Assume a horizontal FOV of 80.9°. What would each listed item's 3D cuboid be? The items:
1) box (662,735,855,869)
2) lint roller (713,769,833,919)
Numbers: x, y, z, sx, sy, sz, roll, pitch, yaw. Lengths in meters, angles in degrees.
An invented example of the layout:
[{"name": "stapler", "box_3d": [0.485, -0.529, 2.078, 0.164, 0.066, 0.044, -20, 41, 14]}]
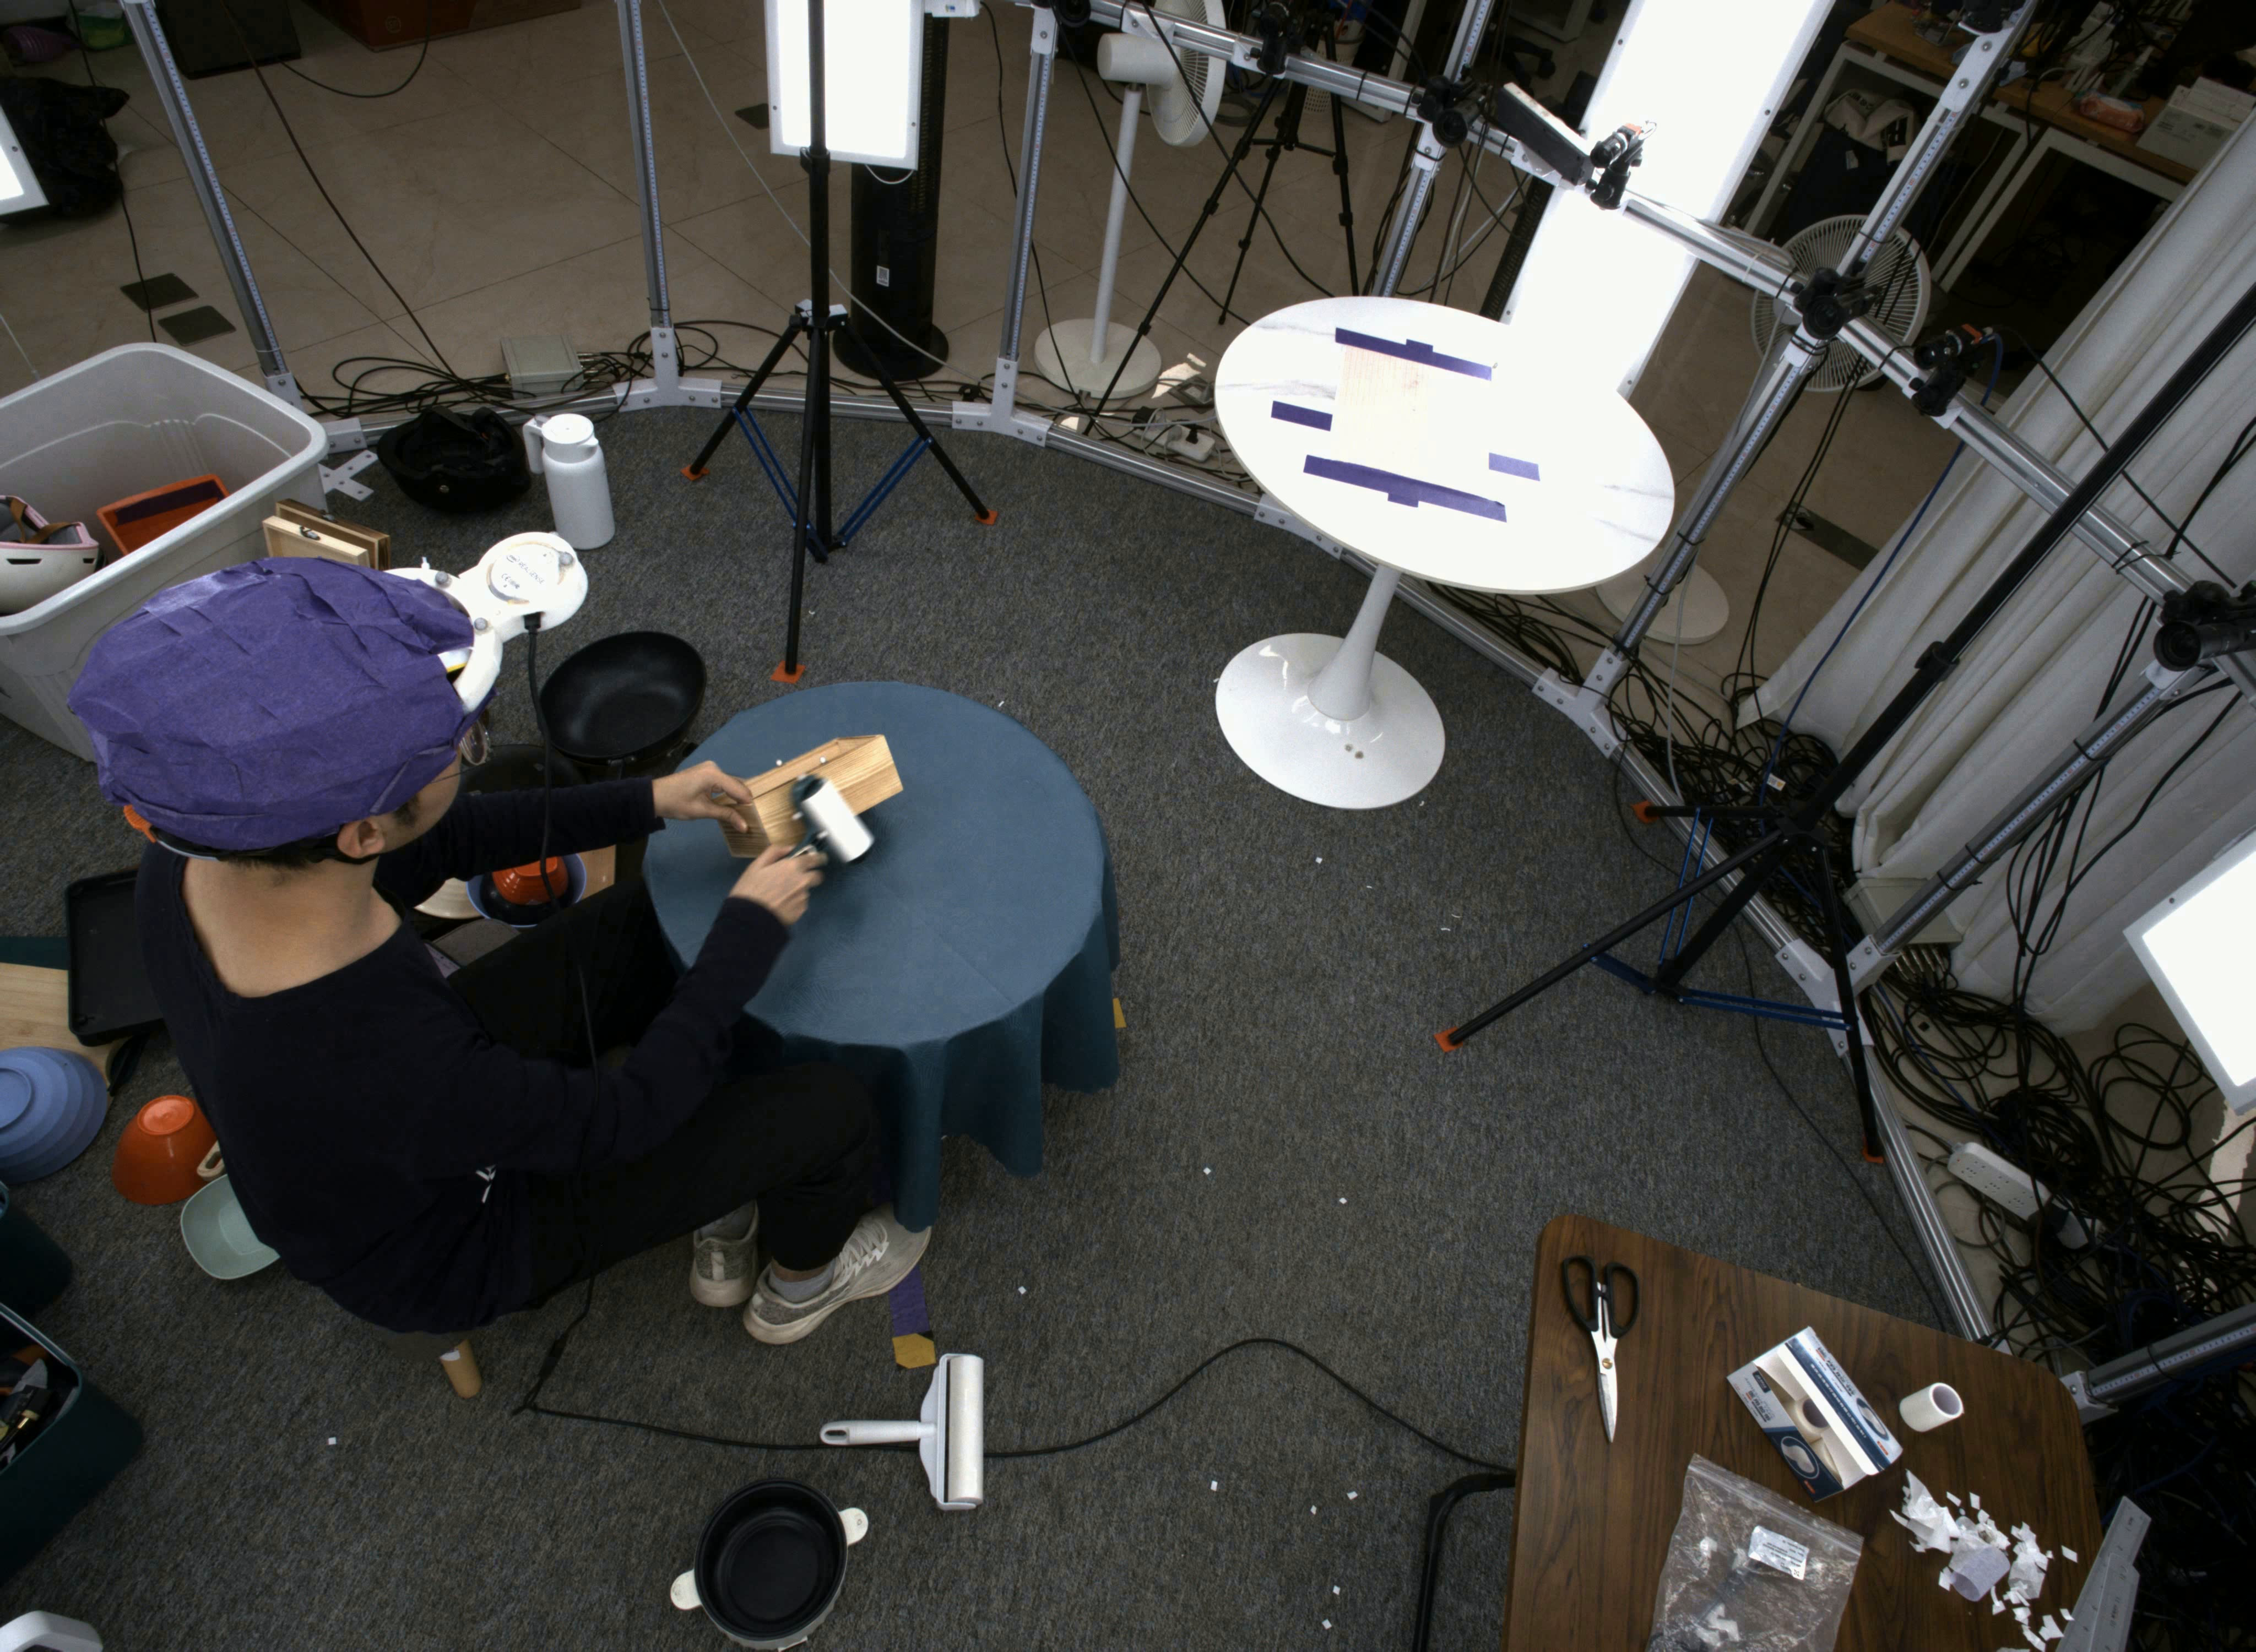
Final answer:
[{"name": "box", "box_3d": [-0.468, -0.033, 1.646, 0.104, 0.083, 0.212, -1, 27, 41]}, {"name": "lint roller", "box_3d": [-0.435, 0.038, 1.553, 0.047, 0.139, 0.178, -10, 38, 33]}]
